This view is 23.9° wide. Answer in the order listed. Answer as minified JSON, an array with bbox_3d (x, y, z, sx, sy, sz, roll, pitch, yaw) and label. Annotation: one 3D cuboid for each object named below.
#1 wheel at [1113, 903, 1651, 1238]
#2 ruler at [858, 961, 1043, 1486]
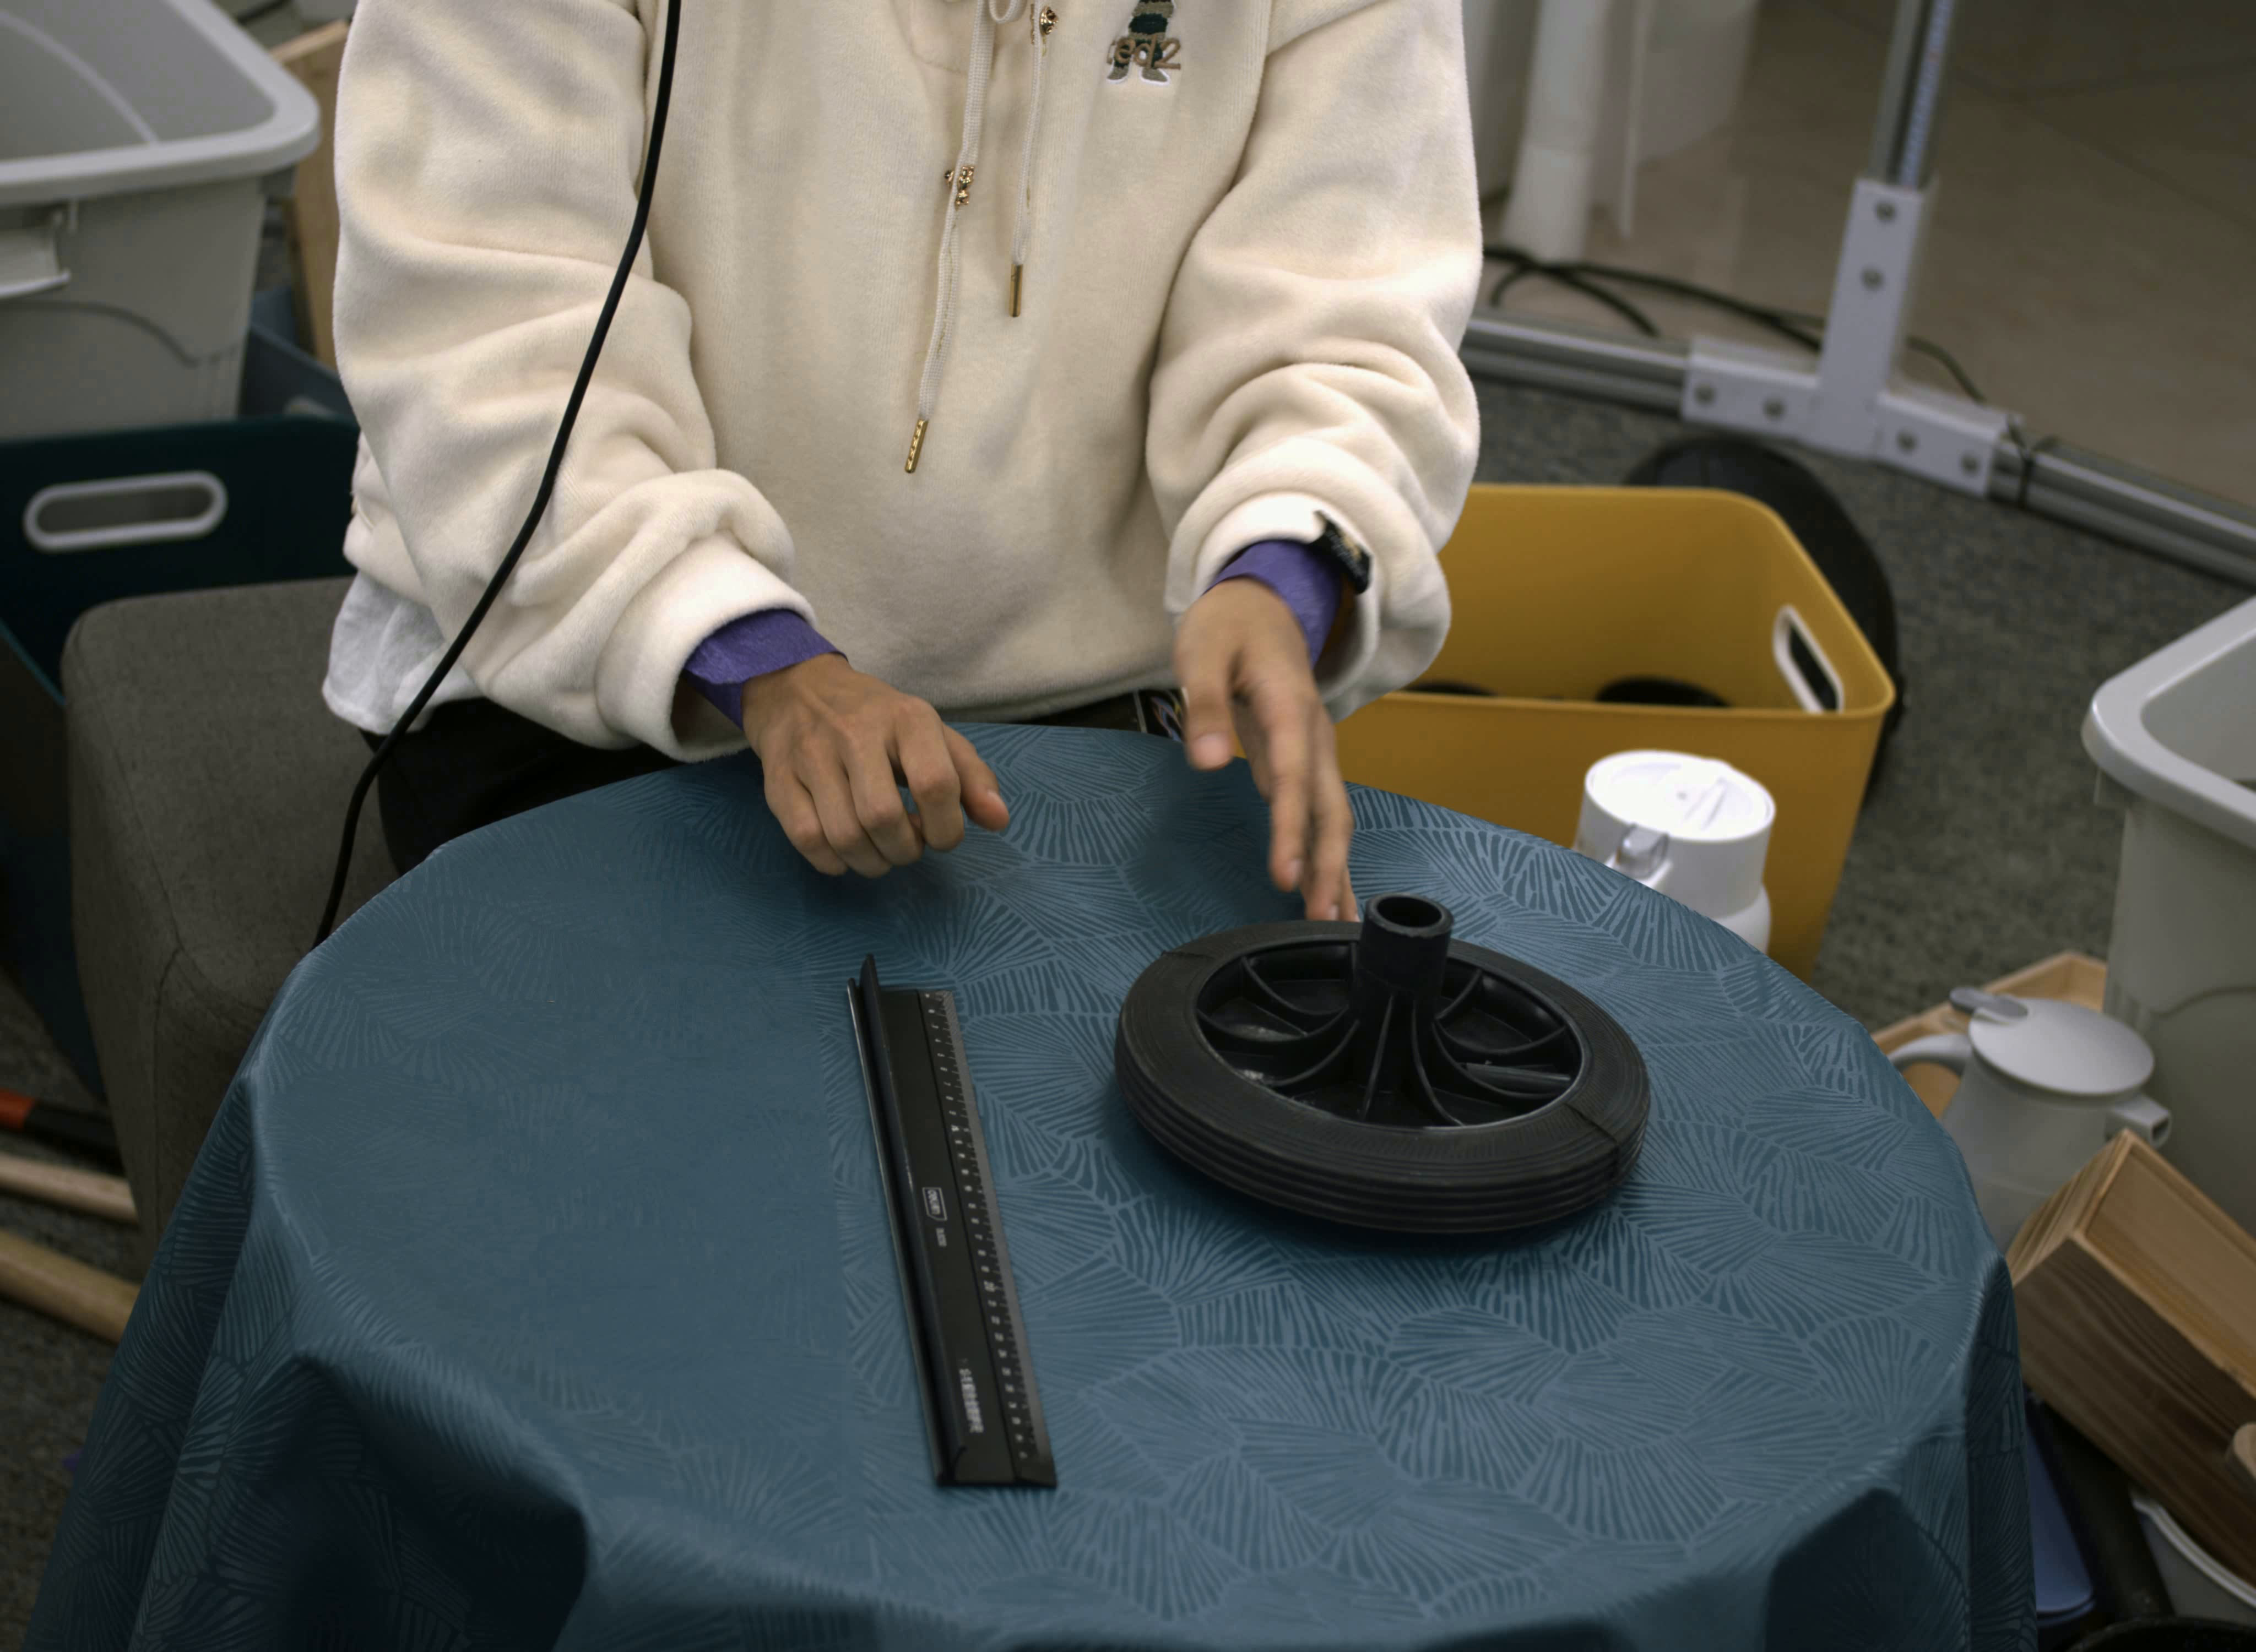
[{"bbox_3d":[0.092,0.069,1.846,0.188,0.079,0.189,-2,28,-21],"label":"wheel"},{"bbox_3d":[-0.060,0.126,1.768,0.039,0.017,0.315,6,26,-10],"label":"ruler"}]
